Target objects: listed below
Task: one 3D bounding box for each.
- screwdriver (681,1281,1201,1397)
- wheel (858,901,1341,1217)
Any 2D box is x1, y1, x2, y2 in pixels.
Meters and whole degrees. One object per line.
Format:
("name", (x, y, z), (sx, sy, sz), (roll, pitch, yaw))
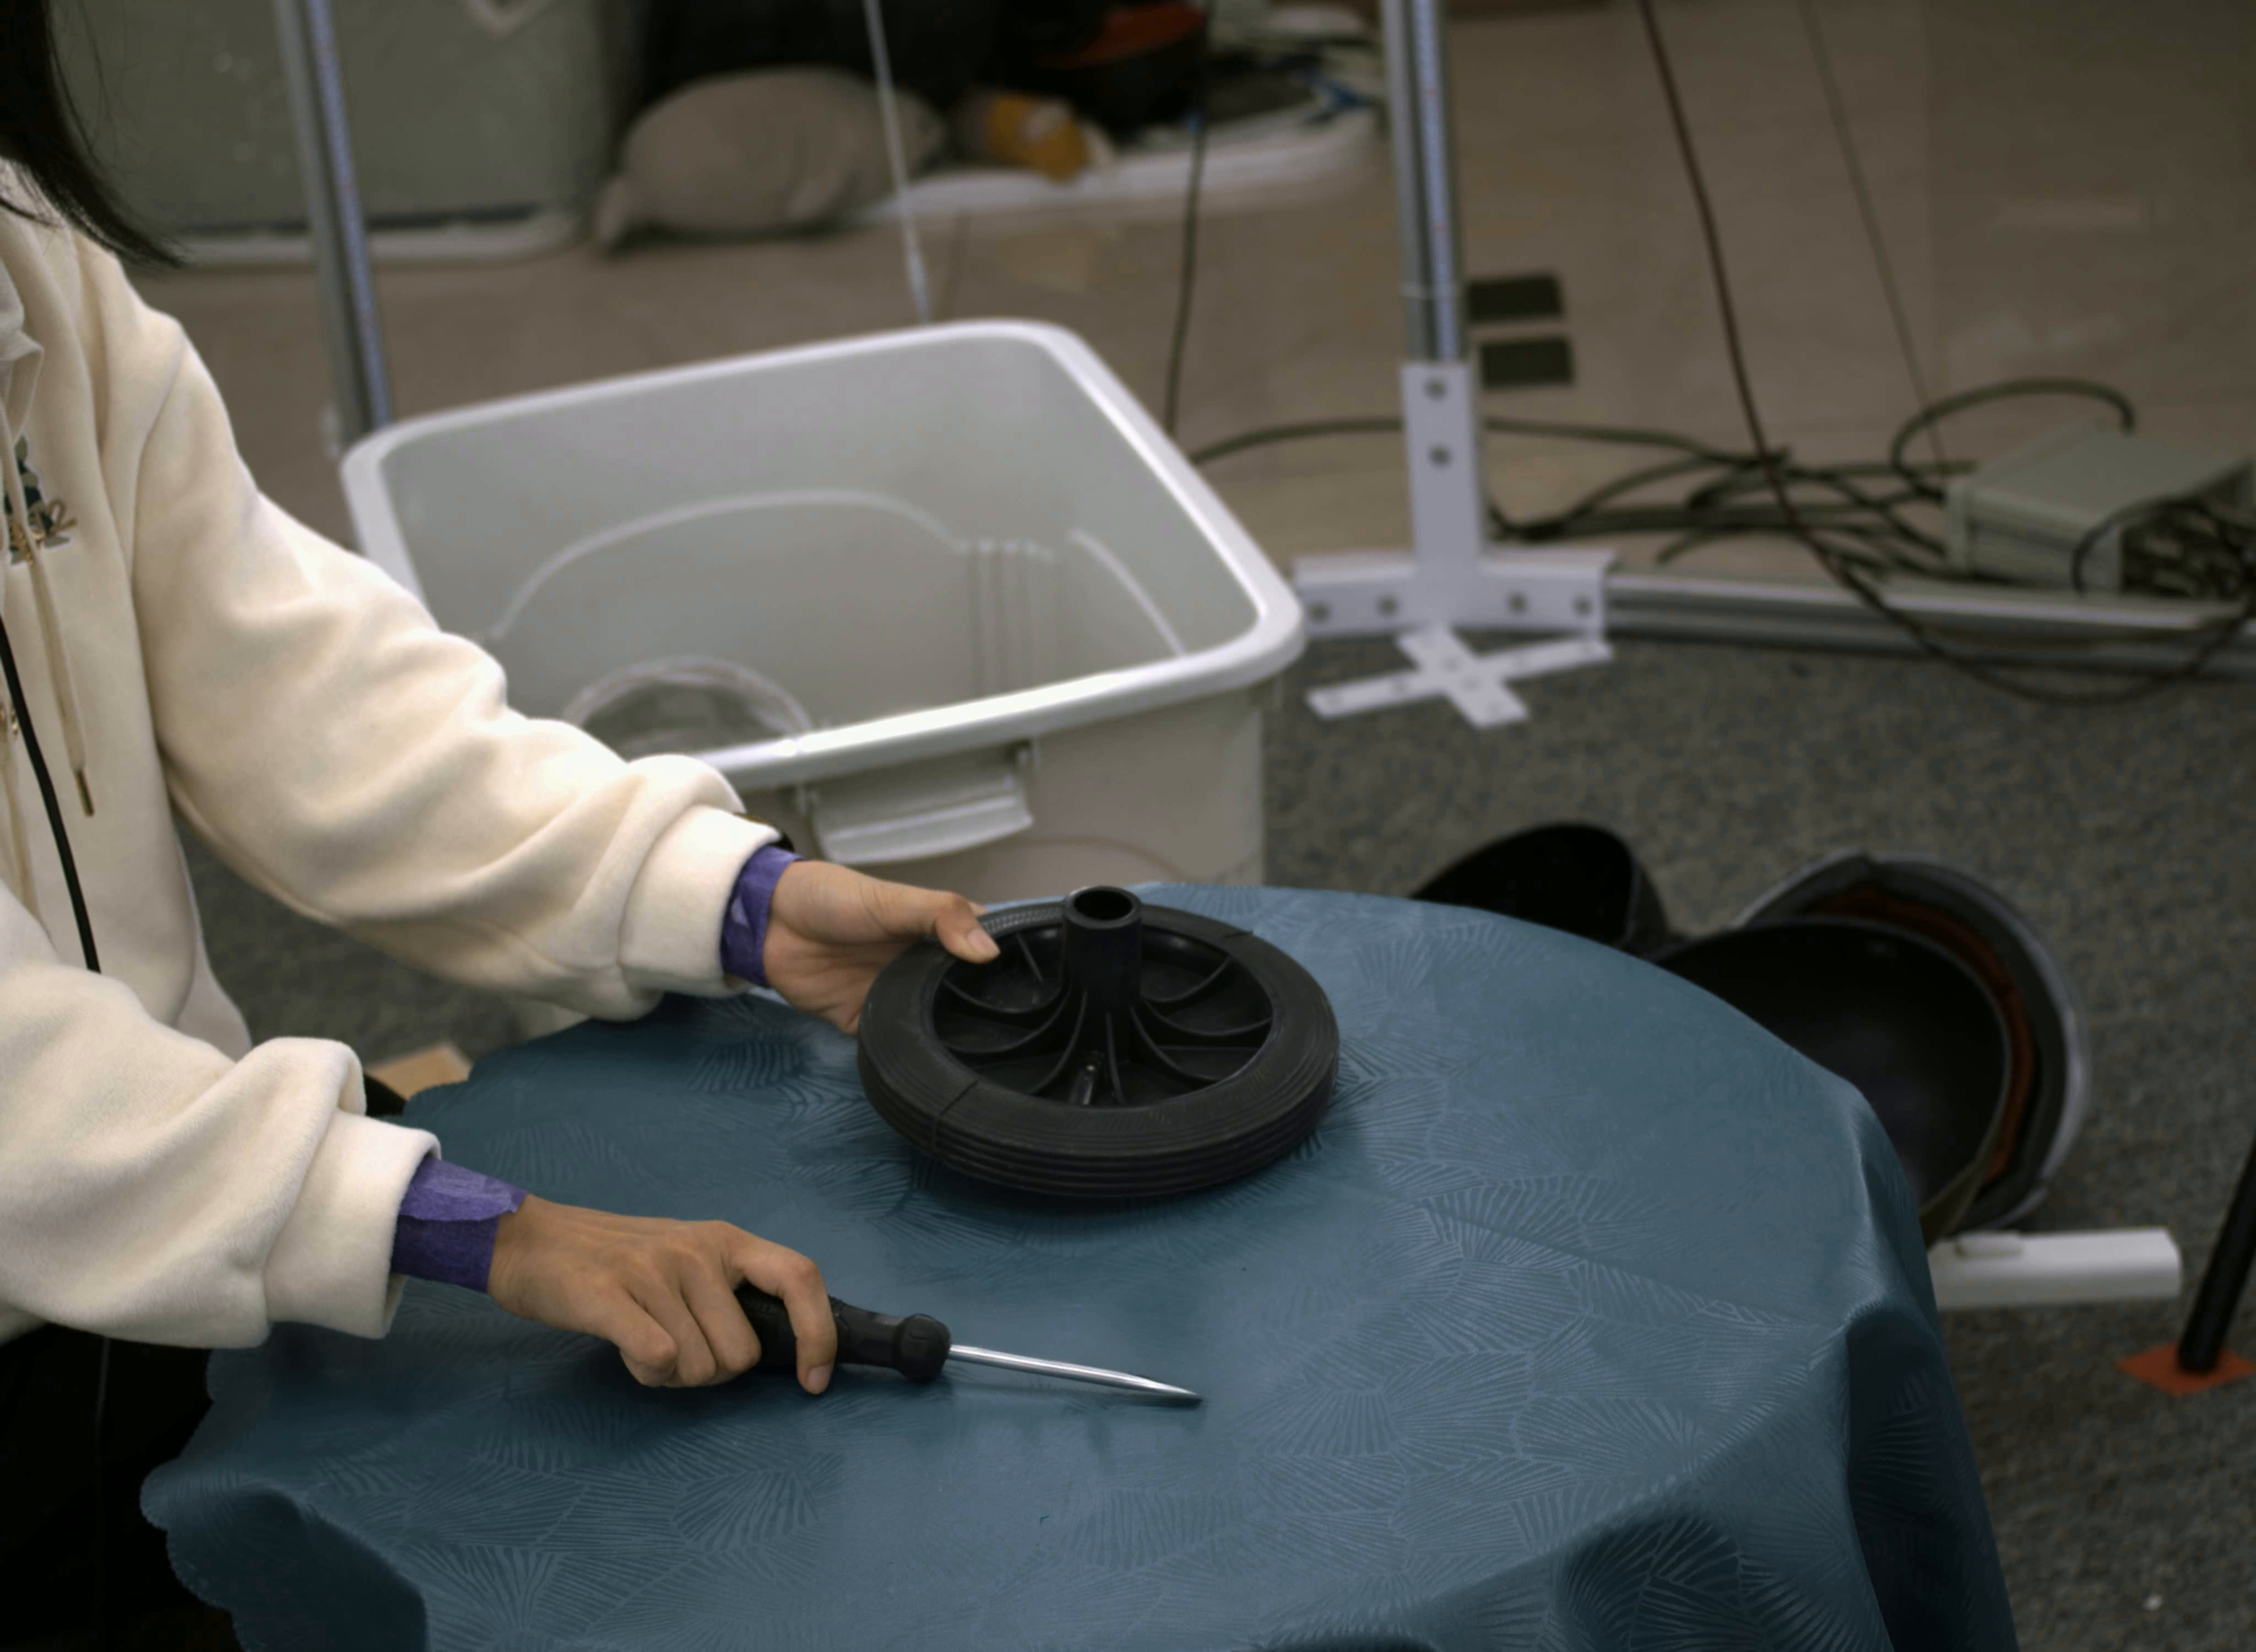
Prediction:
("screwdriver", (-0.069, 0.188, 2.029), (0.197, 0.032, 0.031), (7, 28, 21))
("wheel", (-0.010, 0.071, 2.190), (0.187, 0.080, 0.186), (-5, 34, -13))
